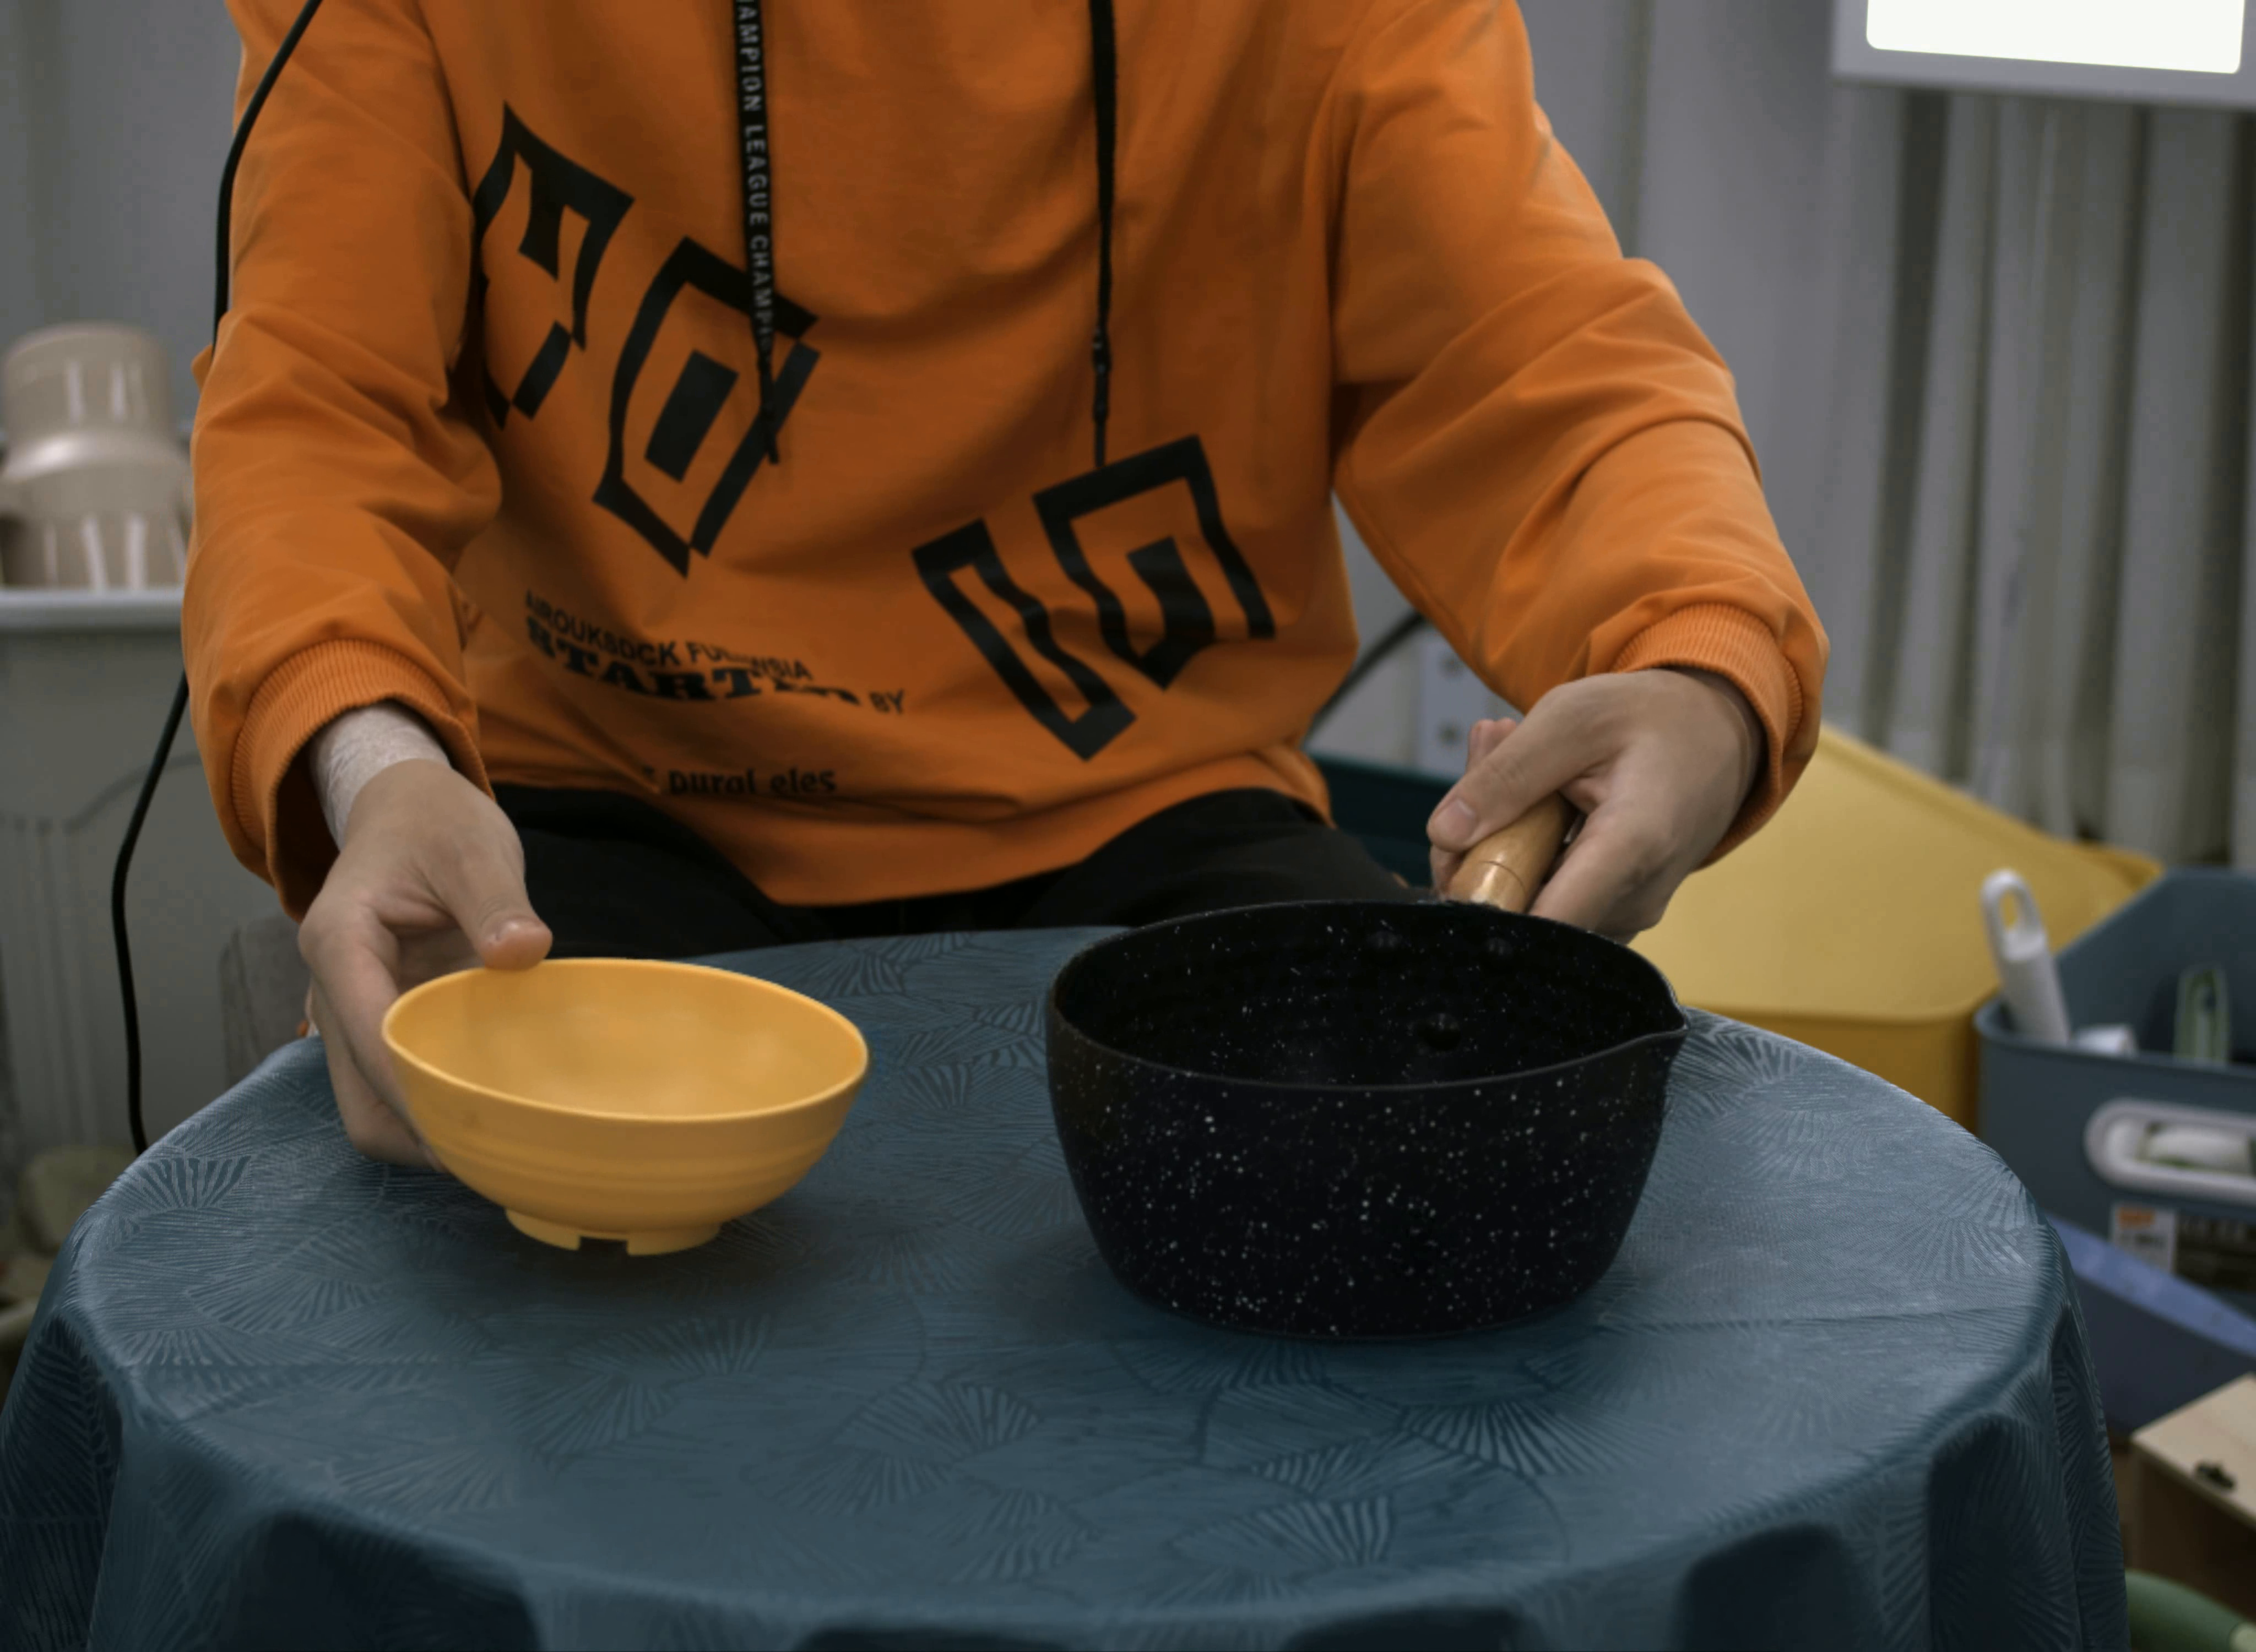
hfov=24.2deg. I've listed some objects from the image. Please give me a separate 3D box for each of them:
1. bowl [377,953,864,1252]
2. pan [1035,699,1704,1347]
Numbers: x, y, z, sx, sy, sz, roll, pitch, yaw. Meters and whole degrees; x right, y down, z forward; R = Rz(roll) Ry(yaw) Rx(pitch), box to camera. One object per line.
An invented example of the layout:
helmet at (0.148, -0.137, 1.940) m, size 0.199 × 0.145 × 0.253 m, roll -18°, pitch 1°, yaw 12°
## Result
bowl at (-0.153, 0.088, 1.568) m, size 0.145 × 0.060 × 0.144 m, roll 7°, pitch 16°, yaw -1°
pan at (0.093, 0.055, 1.624) m, size 0.205 × 0.109 × 0.343 m, roll 4°, pitch 18°, yaw 18°
